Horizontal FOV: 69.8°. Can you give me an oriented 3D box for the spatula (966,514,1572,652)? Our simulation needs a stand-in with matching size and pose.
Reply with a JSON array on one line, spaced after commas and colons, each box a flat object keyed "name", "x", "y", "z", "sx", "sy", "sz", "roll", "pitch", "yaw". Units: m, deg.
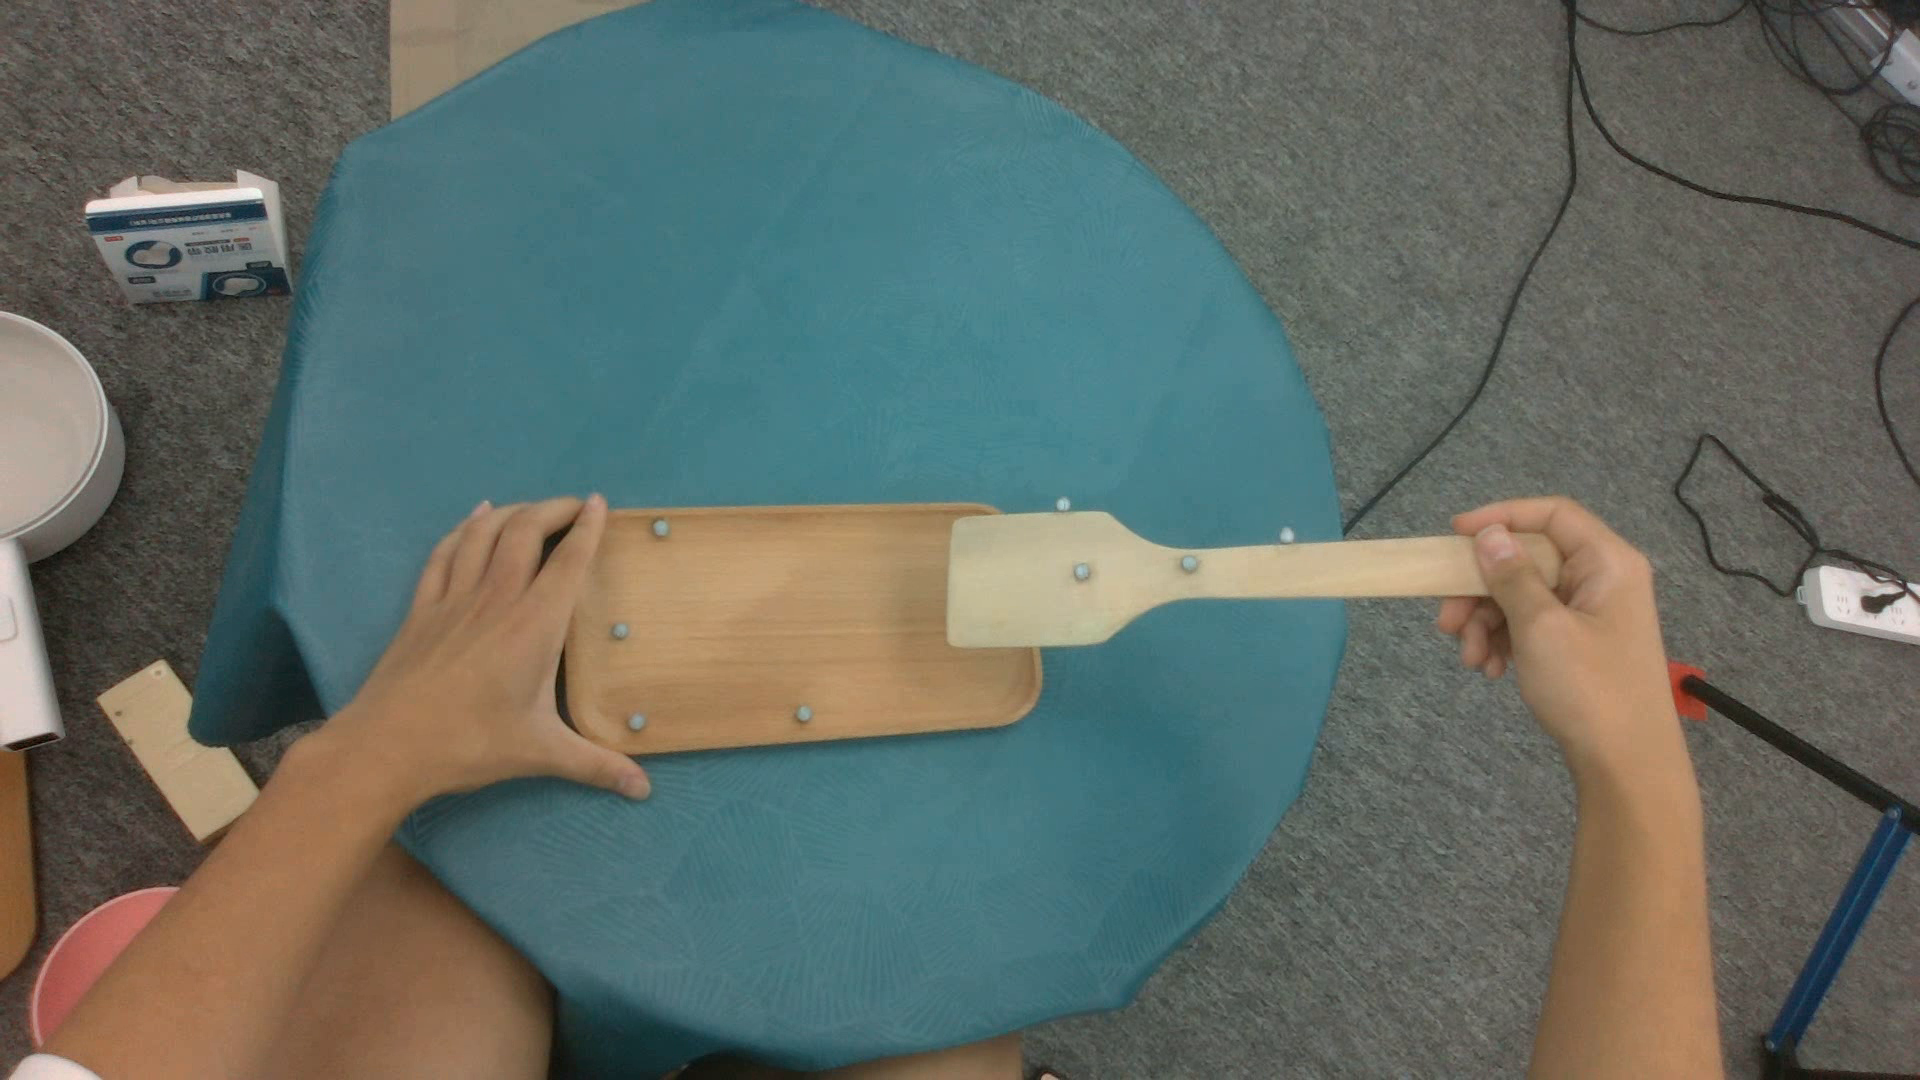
[{"name": "spatula", "x": 0.140, "y": 0.016, "z": 0.674, "sx": 0.292, "sy": 0.010, "sz": 0.072, "roll": -3, "pitch": 76, "yaw": 22}]

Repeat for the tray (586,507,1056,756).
[{"name": "tray", "x": -0.072, "y": 0.046, "z": 0.743, "sx": 0.251, "sy": 0.023, "sz": 0.131, "roll": 0, "pitch": 75, "yaw": -18}]
